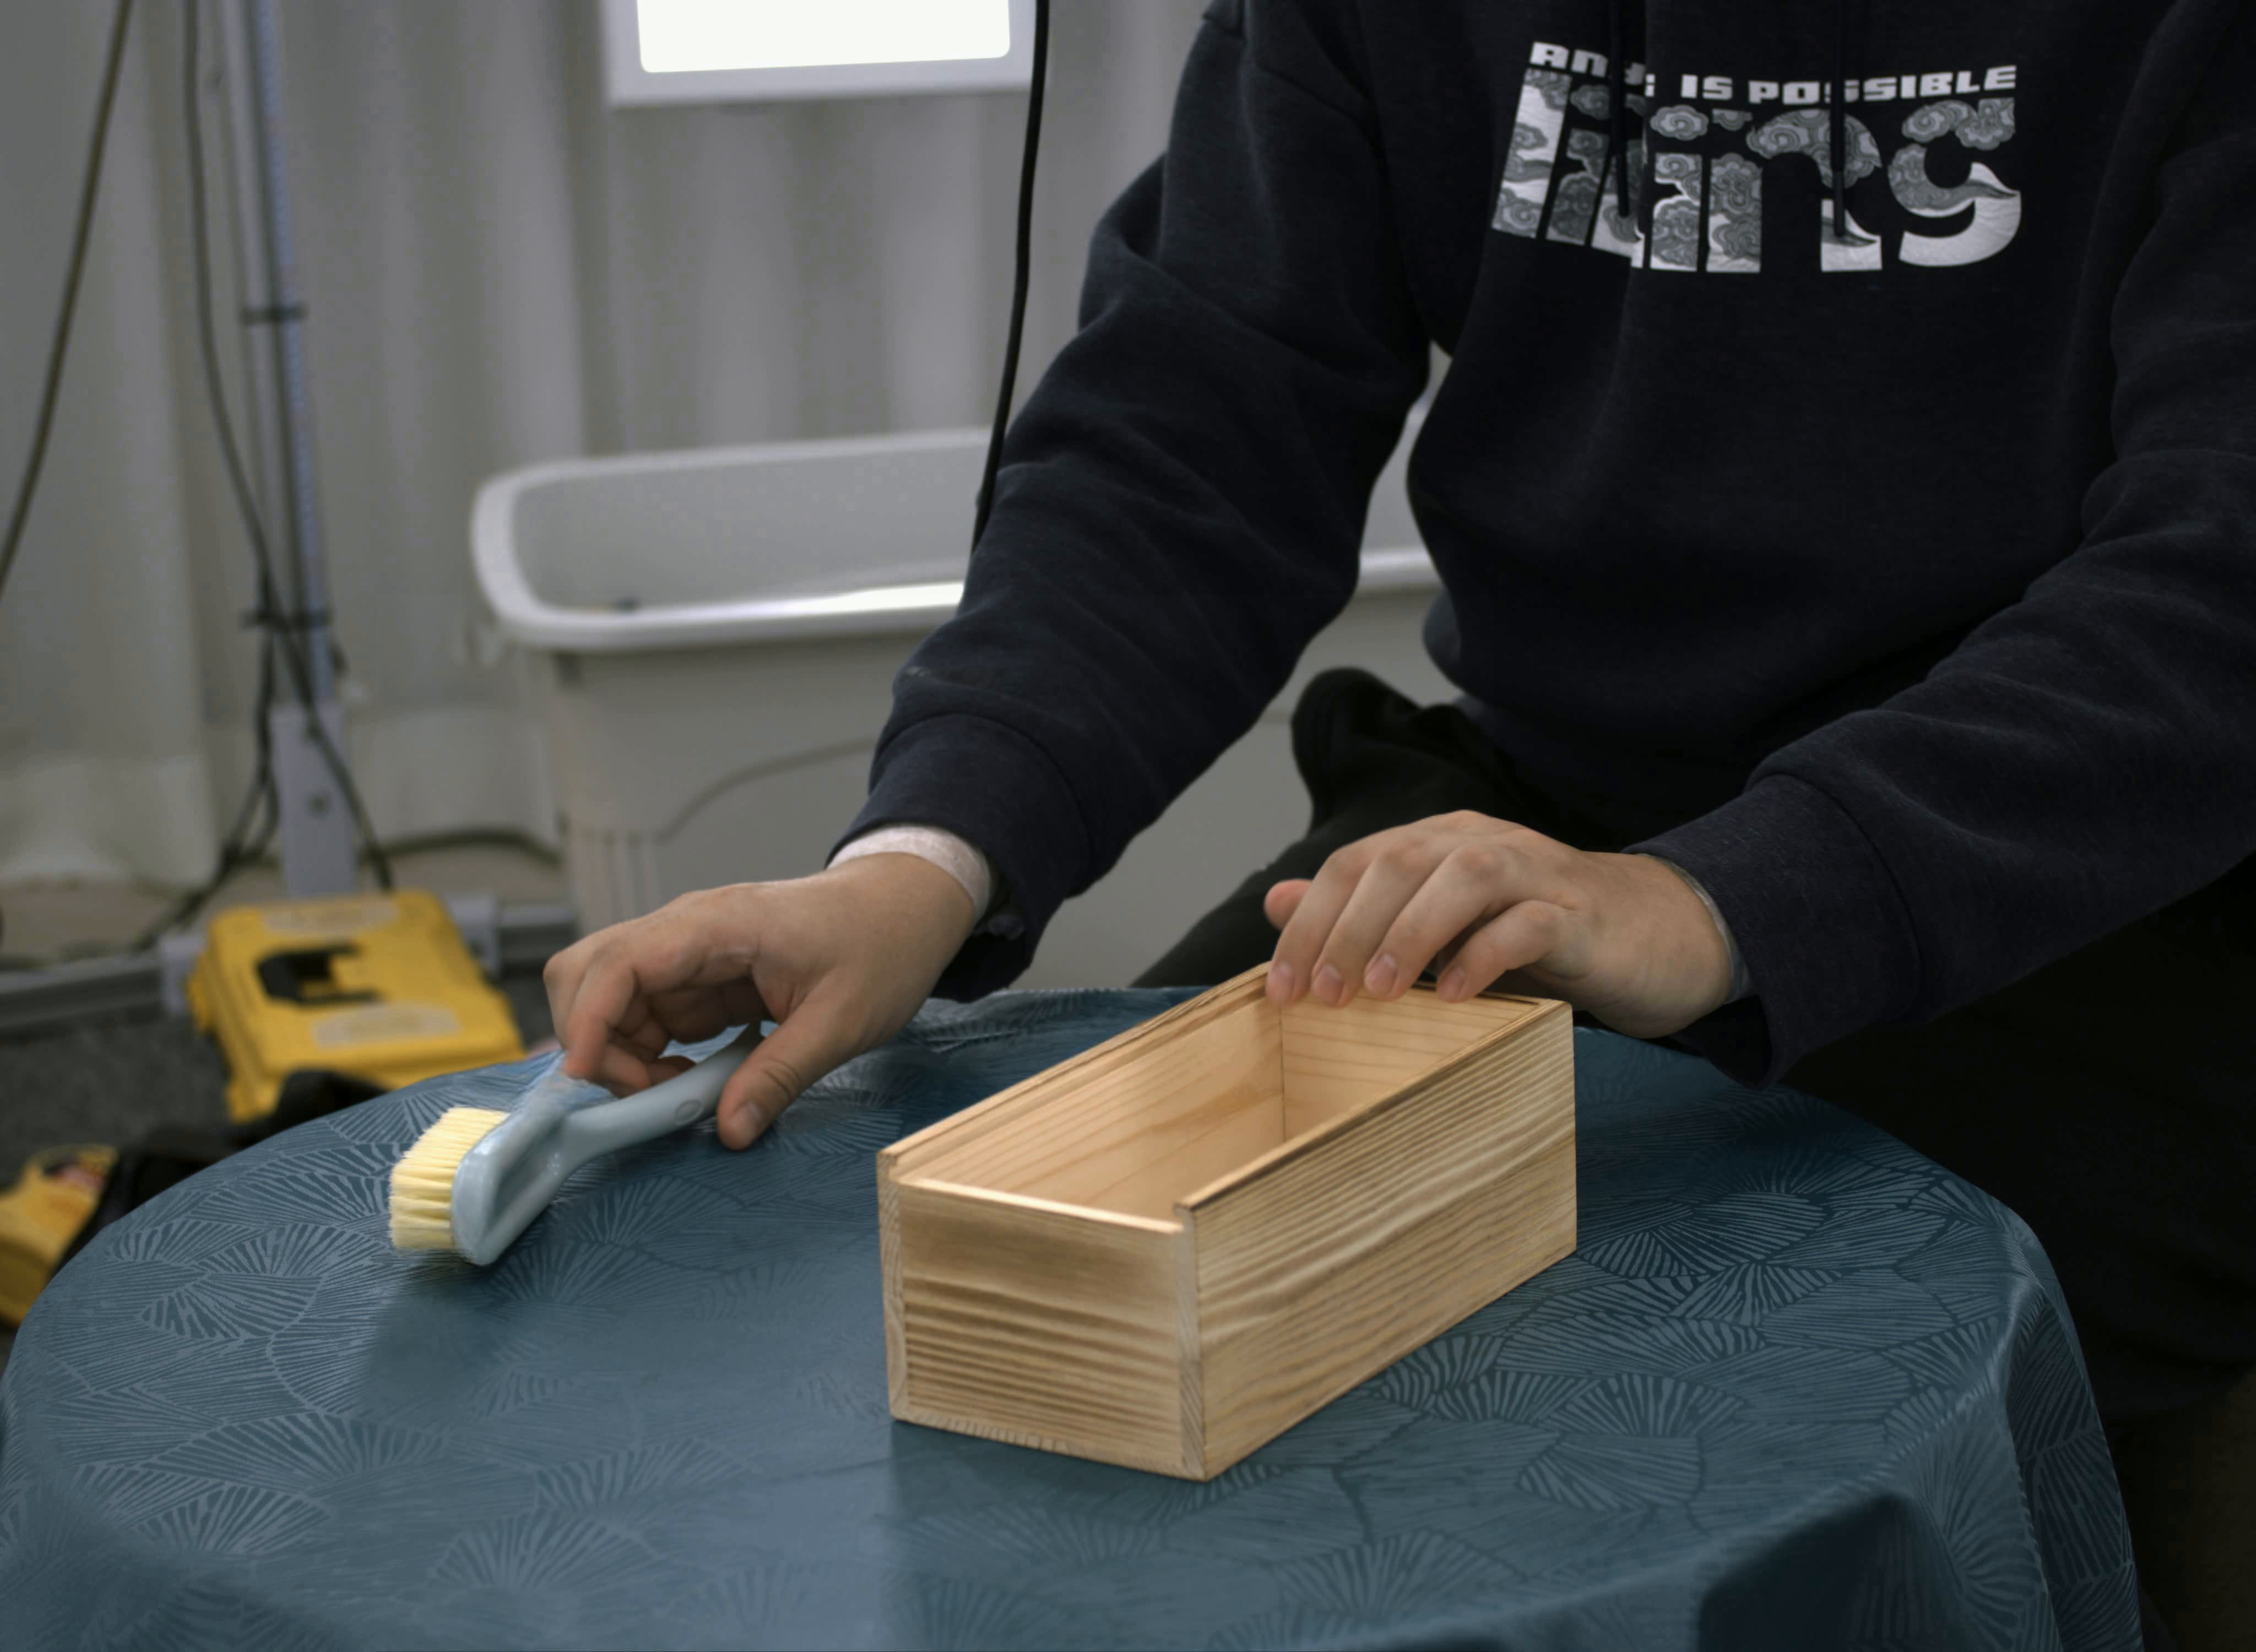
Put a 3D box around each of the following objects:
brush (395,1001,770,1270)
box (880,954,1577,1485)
[{"bbox_3d":[-0.172,0.094,1.755,0.050,0.037,0.229,2,15,22],"label":"brush"},{"bbox_3d":[0.033,0.109,1.578,0.108,0.080,0.211,7,18,32],"label":"box"}]
